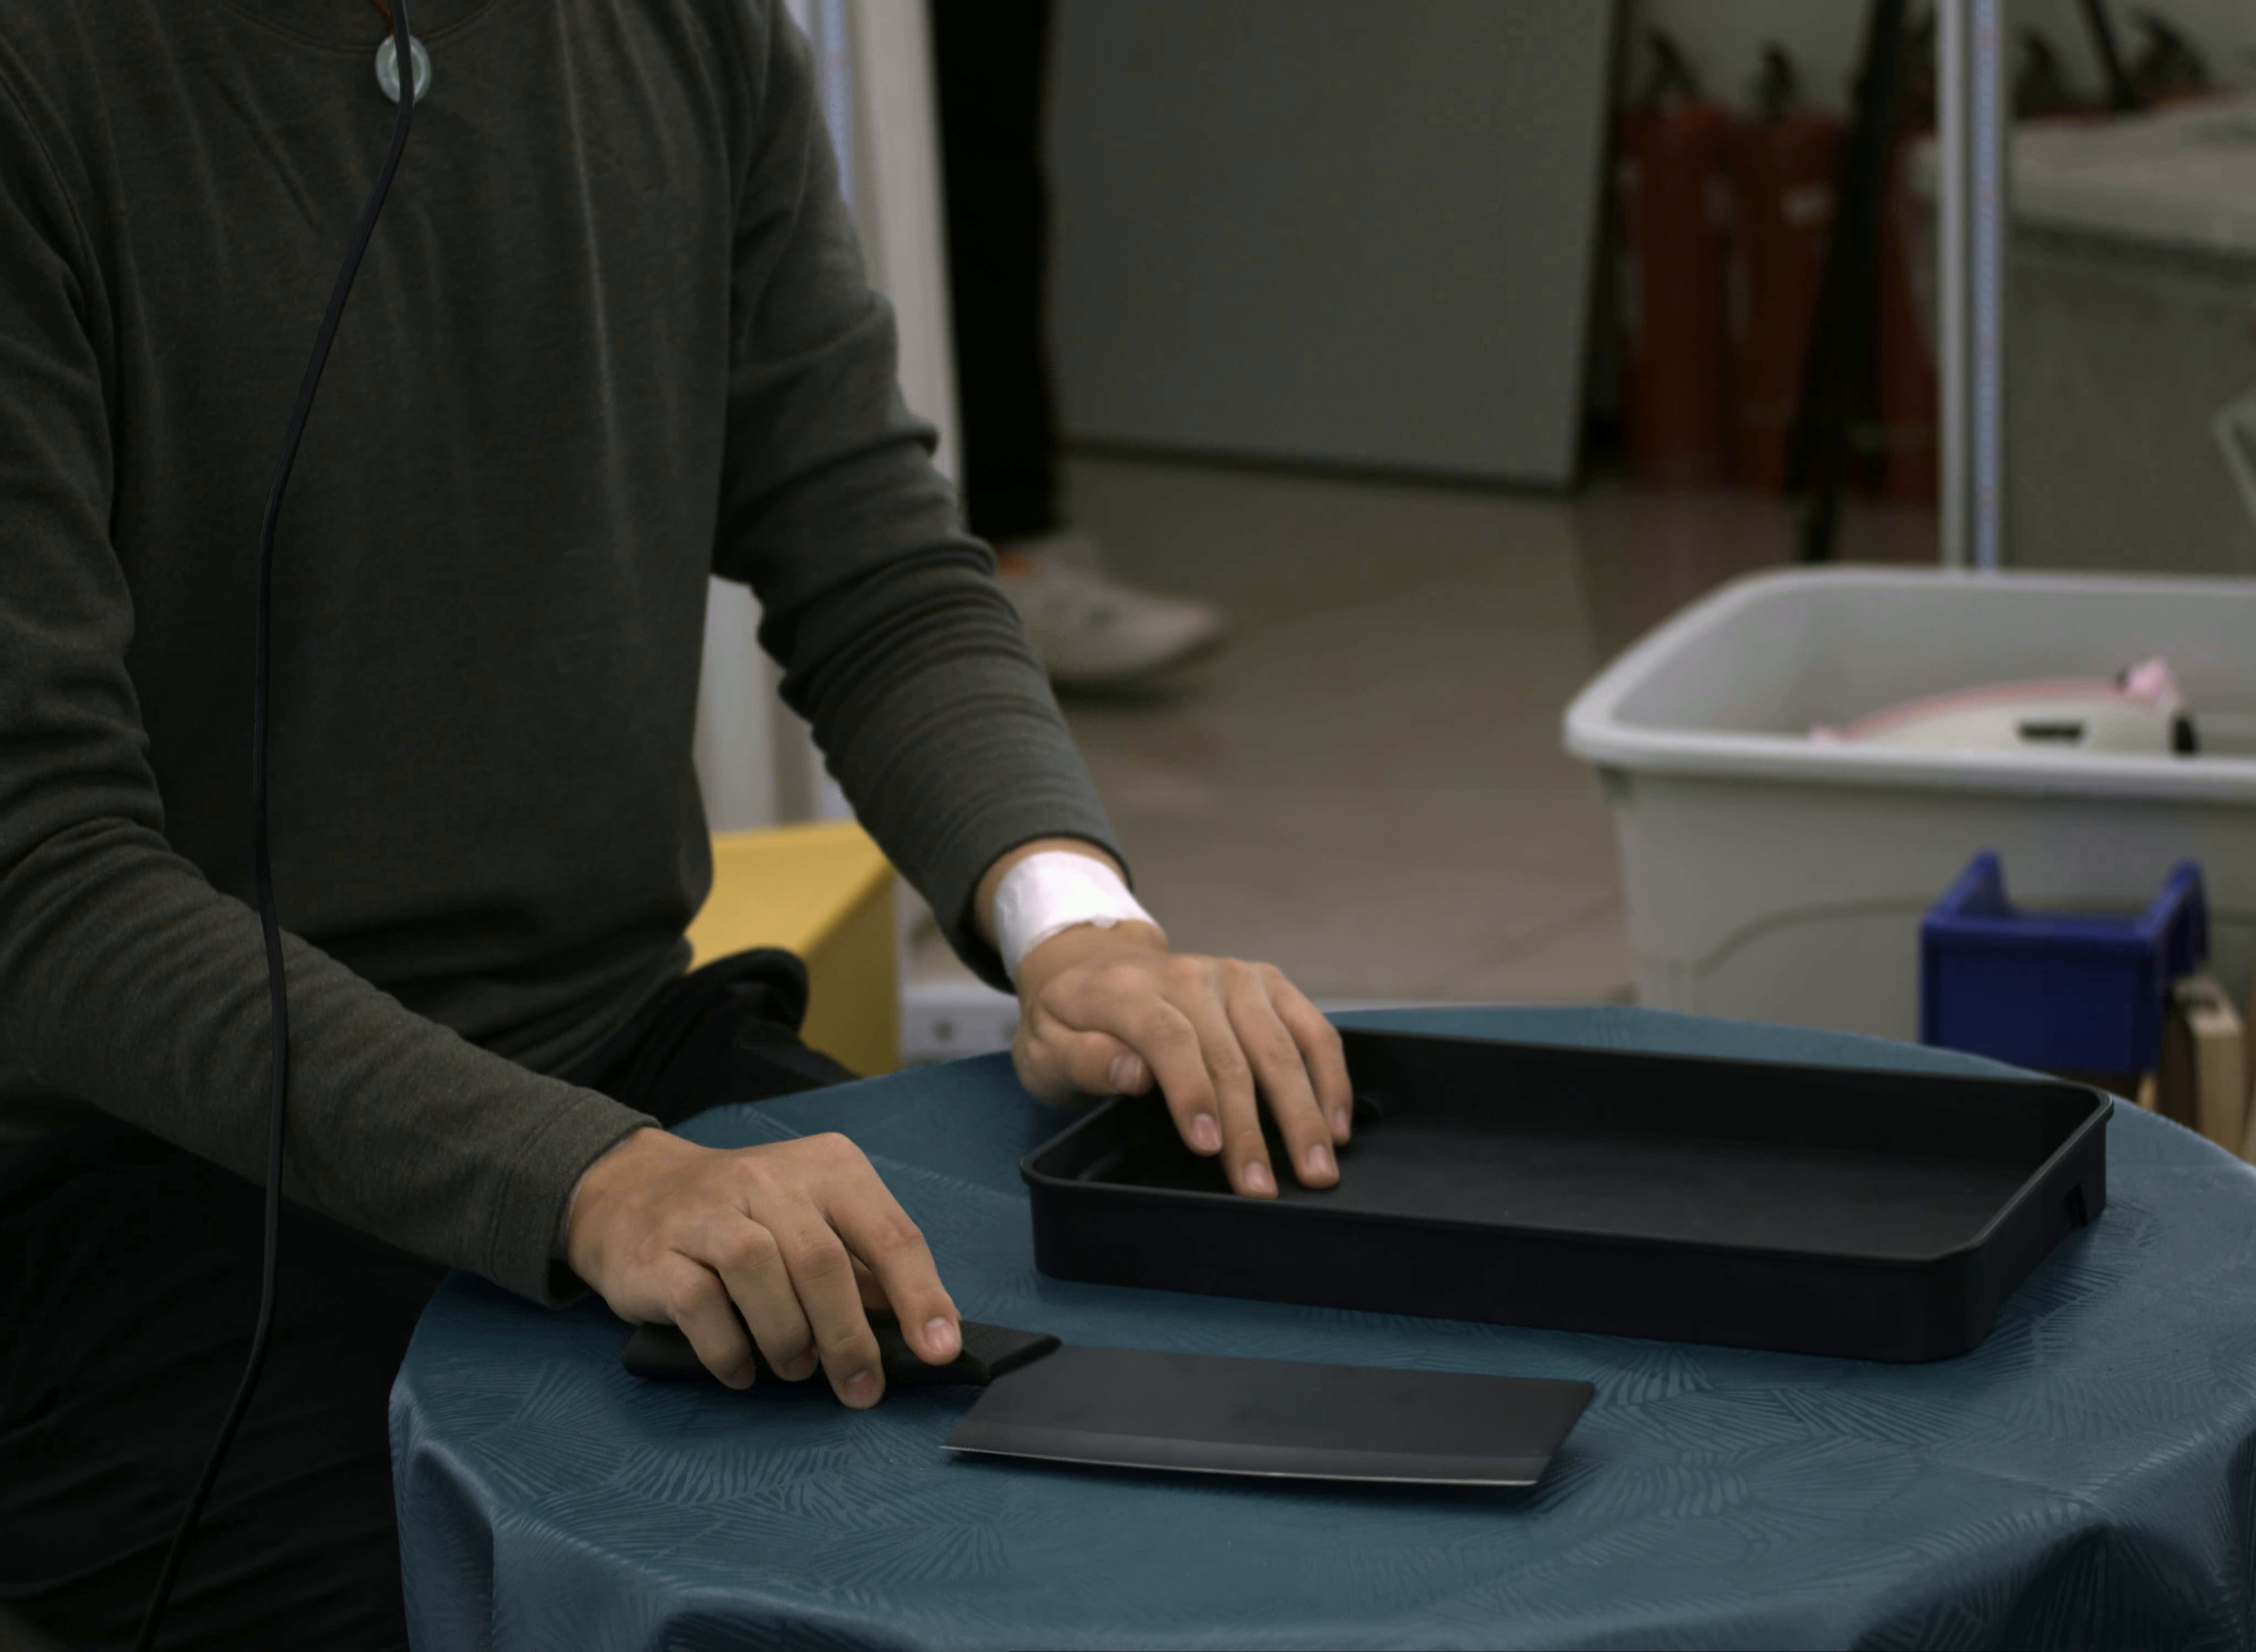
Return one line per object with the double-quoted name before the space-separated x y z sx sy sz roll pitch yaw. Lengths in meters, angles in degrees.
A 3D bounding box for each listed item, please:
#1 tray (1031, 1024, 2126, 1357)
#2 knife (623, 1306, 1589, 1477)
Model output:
"tray" 0.143 0.111 1.695 0.318 0.037 0.182 2 15 25
"knife" -0.013 0.164 1.554 0.303 0.021 0.080 3 23 29
